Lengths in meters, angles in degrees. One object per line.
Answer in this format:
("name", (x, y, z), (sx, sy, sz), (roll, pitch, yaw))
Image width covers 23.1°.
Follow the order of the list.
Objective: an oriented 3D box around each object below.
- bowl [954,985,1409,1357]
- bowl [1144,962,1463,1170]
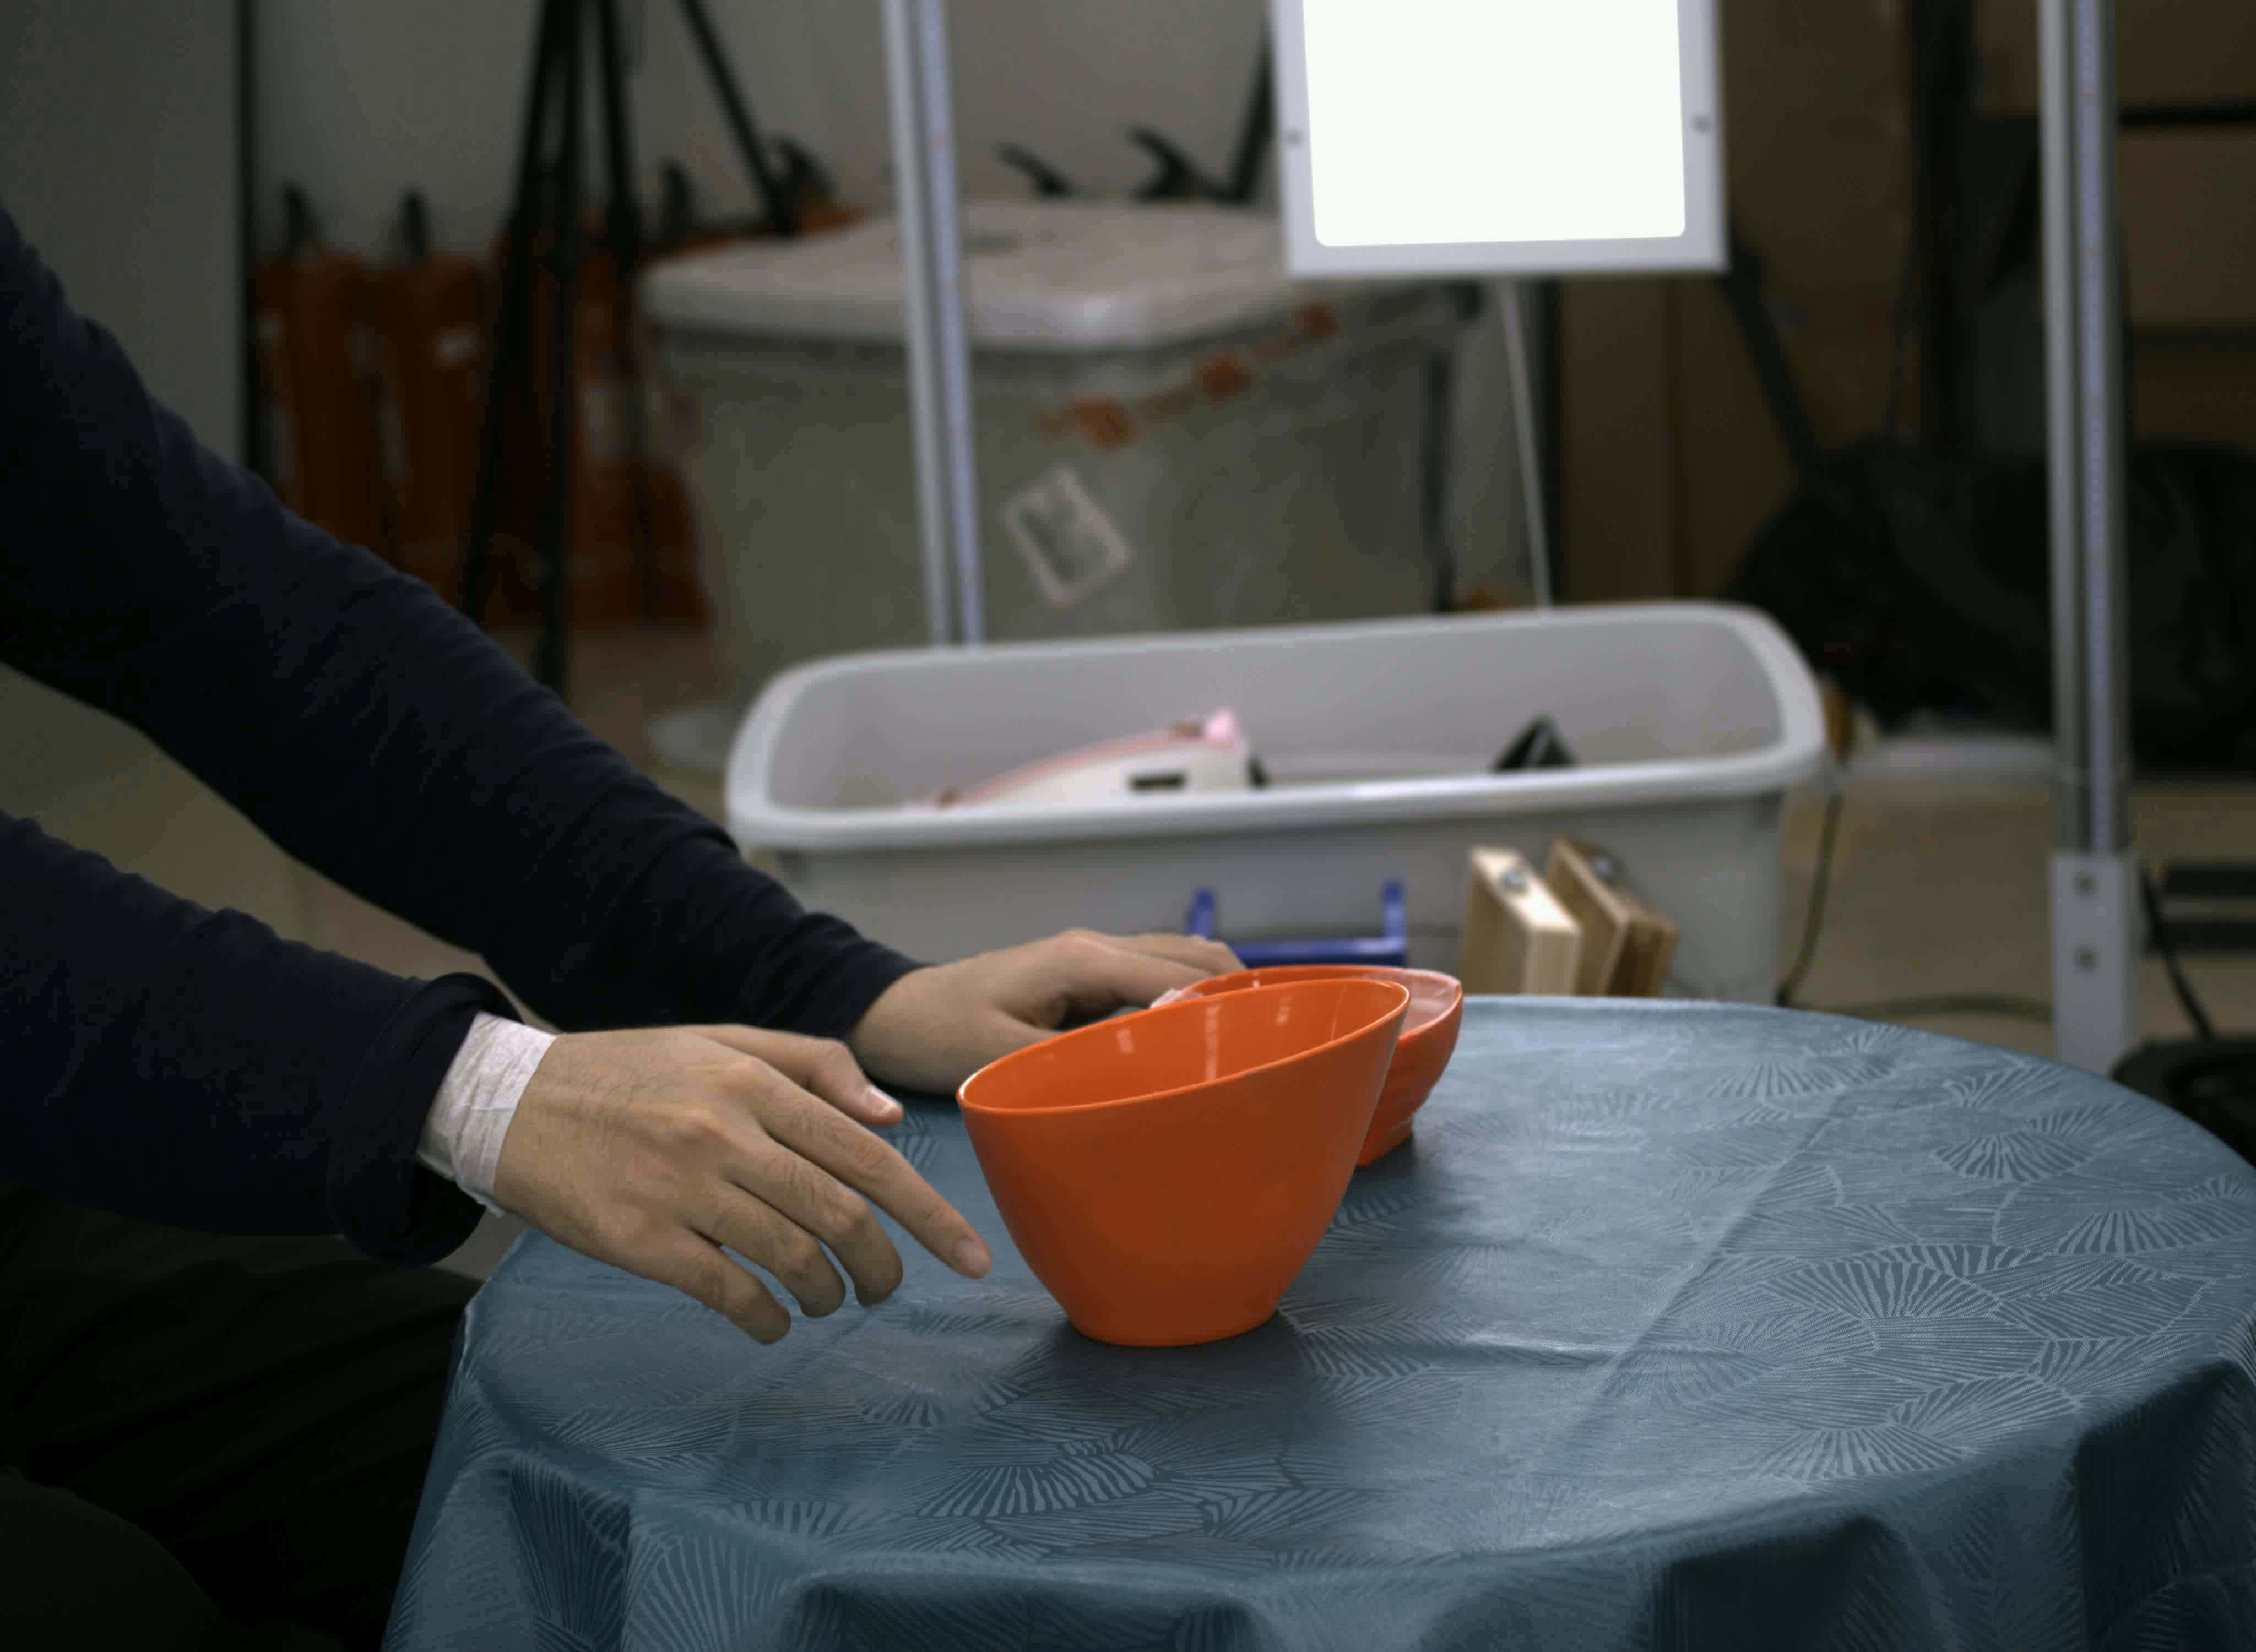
("bowl", (0.020, 0.111, 1.754), (0.147, 0.105, 0.148), (-6, 13, 0))
("bowl", (0.063, 0.087, 1.935), (0.118, 0.051, 0.119), (-6, 15, 0))
